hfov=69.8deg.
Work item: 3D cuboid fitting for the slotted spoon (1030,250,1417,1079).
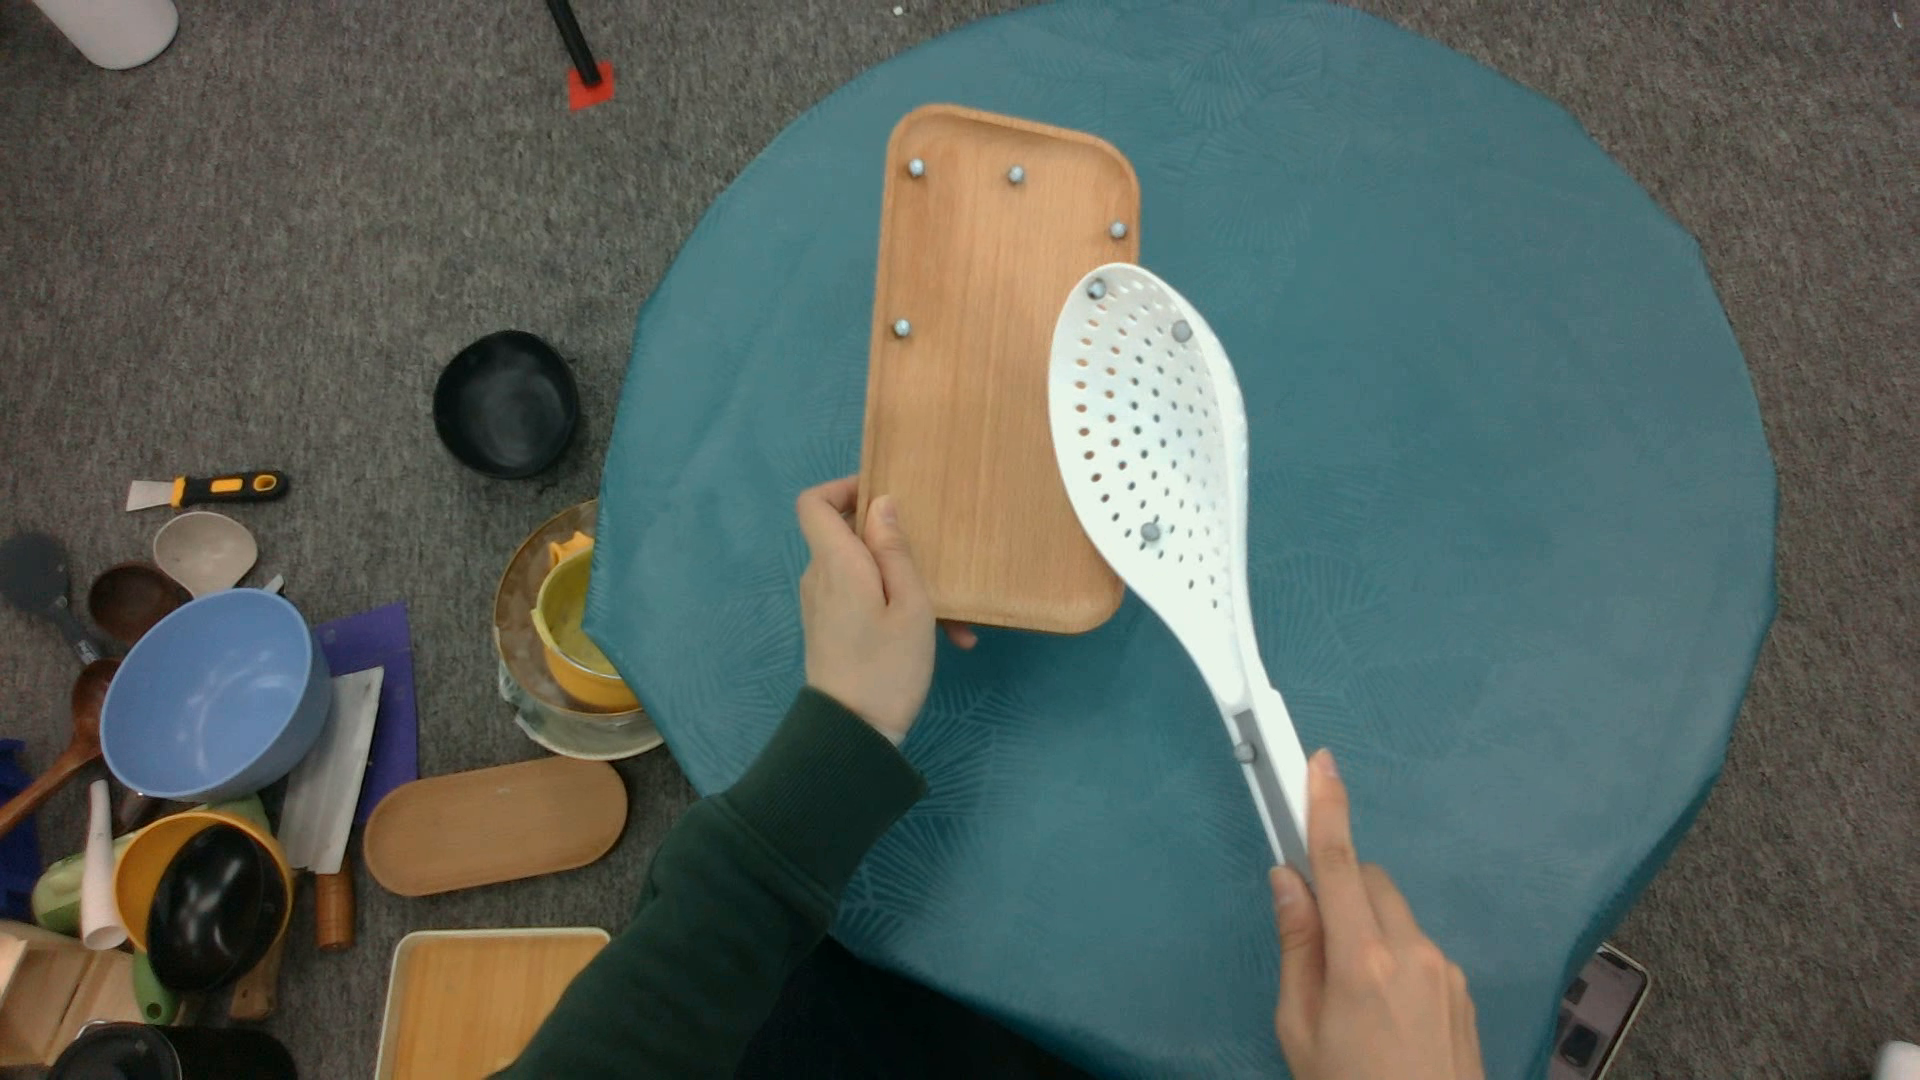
[{"bbox_3d":[0.104,0.045,0.552,0.046,0.135,0.350,-10,75,-21],"label":"slotted spoon"}]

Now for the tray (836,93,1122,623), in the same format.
[{"bbox_3d":[0.012,-0.087,0.640,0.130,0.023,0.251,7,75,-13],"label":"tray"}]
